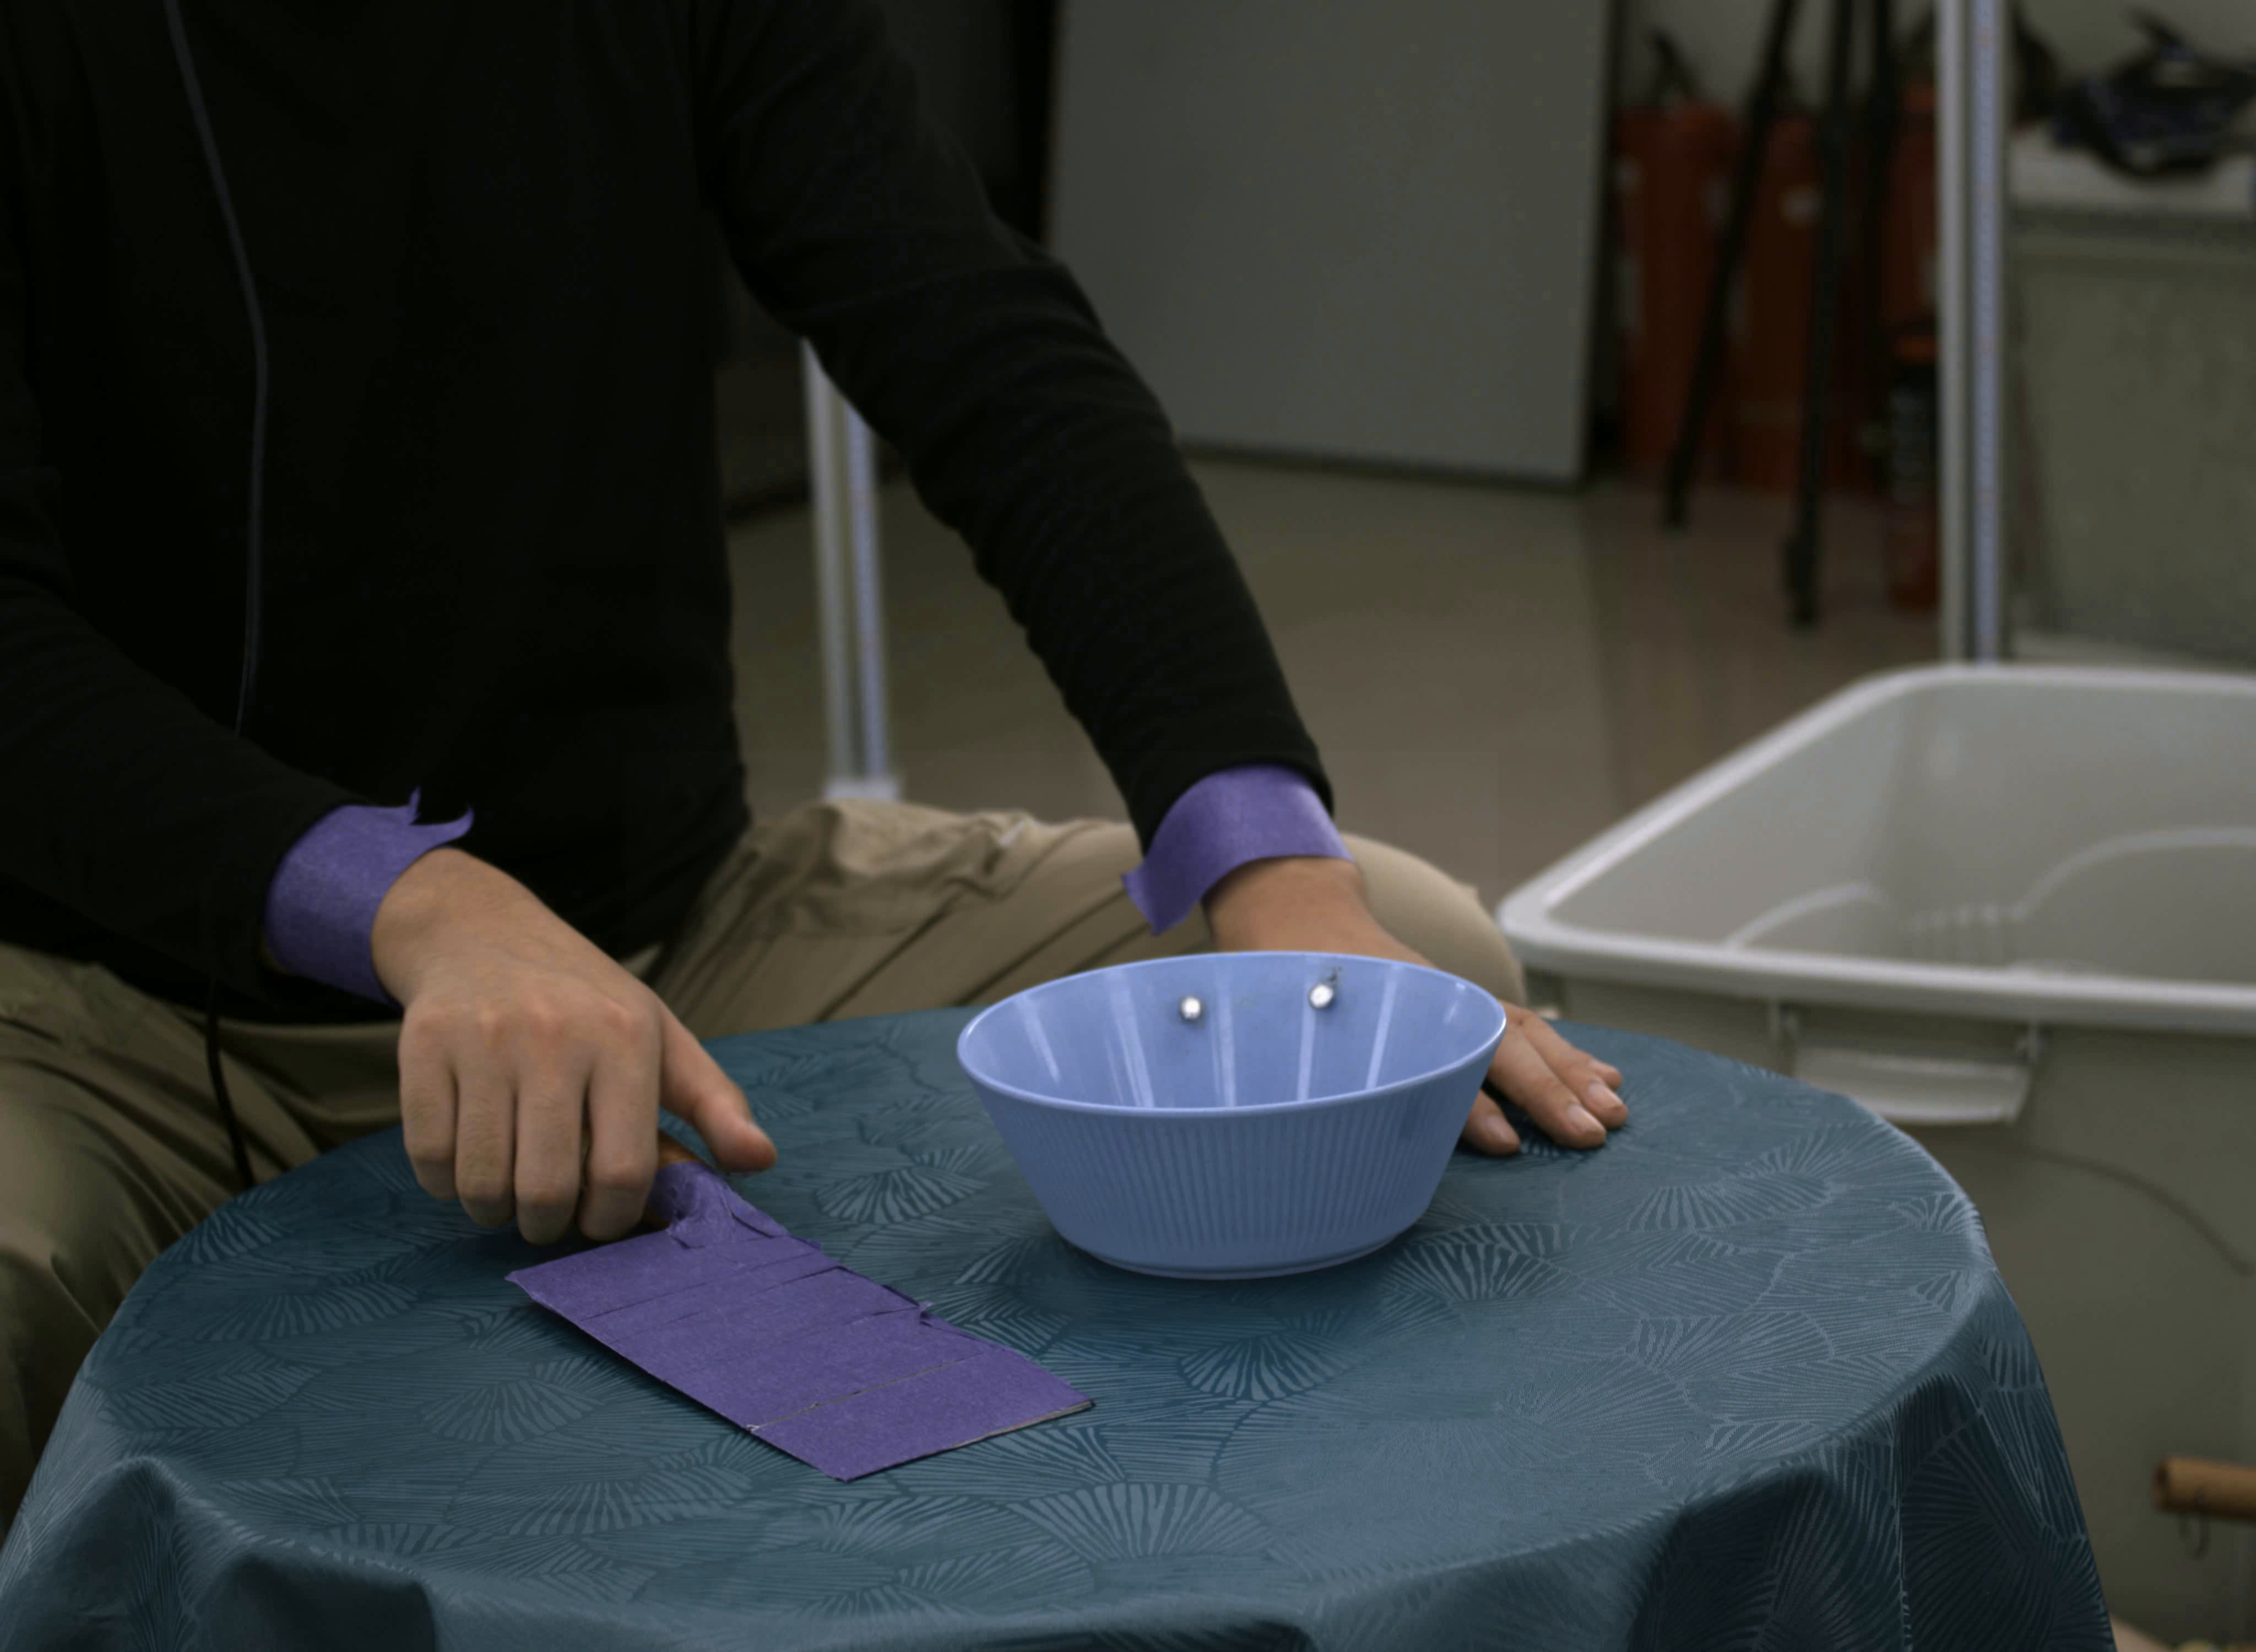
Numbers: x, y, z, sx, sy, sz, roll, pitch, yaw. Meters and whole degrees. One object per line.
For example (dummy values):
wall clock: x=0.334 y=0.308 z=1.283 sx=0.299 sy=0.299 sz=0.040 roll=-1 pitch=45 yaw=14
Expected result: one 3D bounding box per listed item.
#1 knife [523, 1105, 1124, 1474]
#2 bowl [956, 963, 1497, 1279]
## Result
knife: x=-0.128 y=0.141 z=1.679 sx=0.101 sy=0.032 sz=0.318 roll=-13 pitch=17 yaw=-32
bowl: x=0.033 y=0.096 z=1.719 sx=0.174 sy=0.071 sz=0.176 roll=-4 pitch=12 yaw=0
